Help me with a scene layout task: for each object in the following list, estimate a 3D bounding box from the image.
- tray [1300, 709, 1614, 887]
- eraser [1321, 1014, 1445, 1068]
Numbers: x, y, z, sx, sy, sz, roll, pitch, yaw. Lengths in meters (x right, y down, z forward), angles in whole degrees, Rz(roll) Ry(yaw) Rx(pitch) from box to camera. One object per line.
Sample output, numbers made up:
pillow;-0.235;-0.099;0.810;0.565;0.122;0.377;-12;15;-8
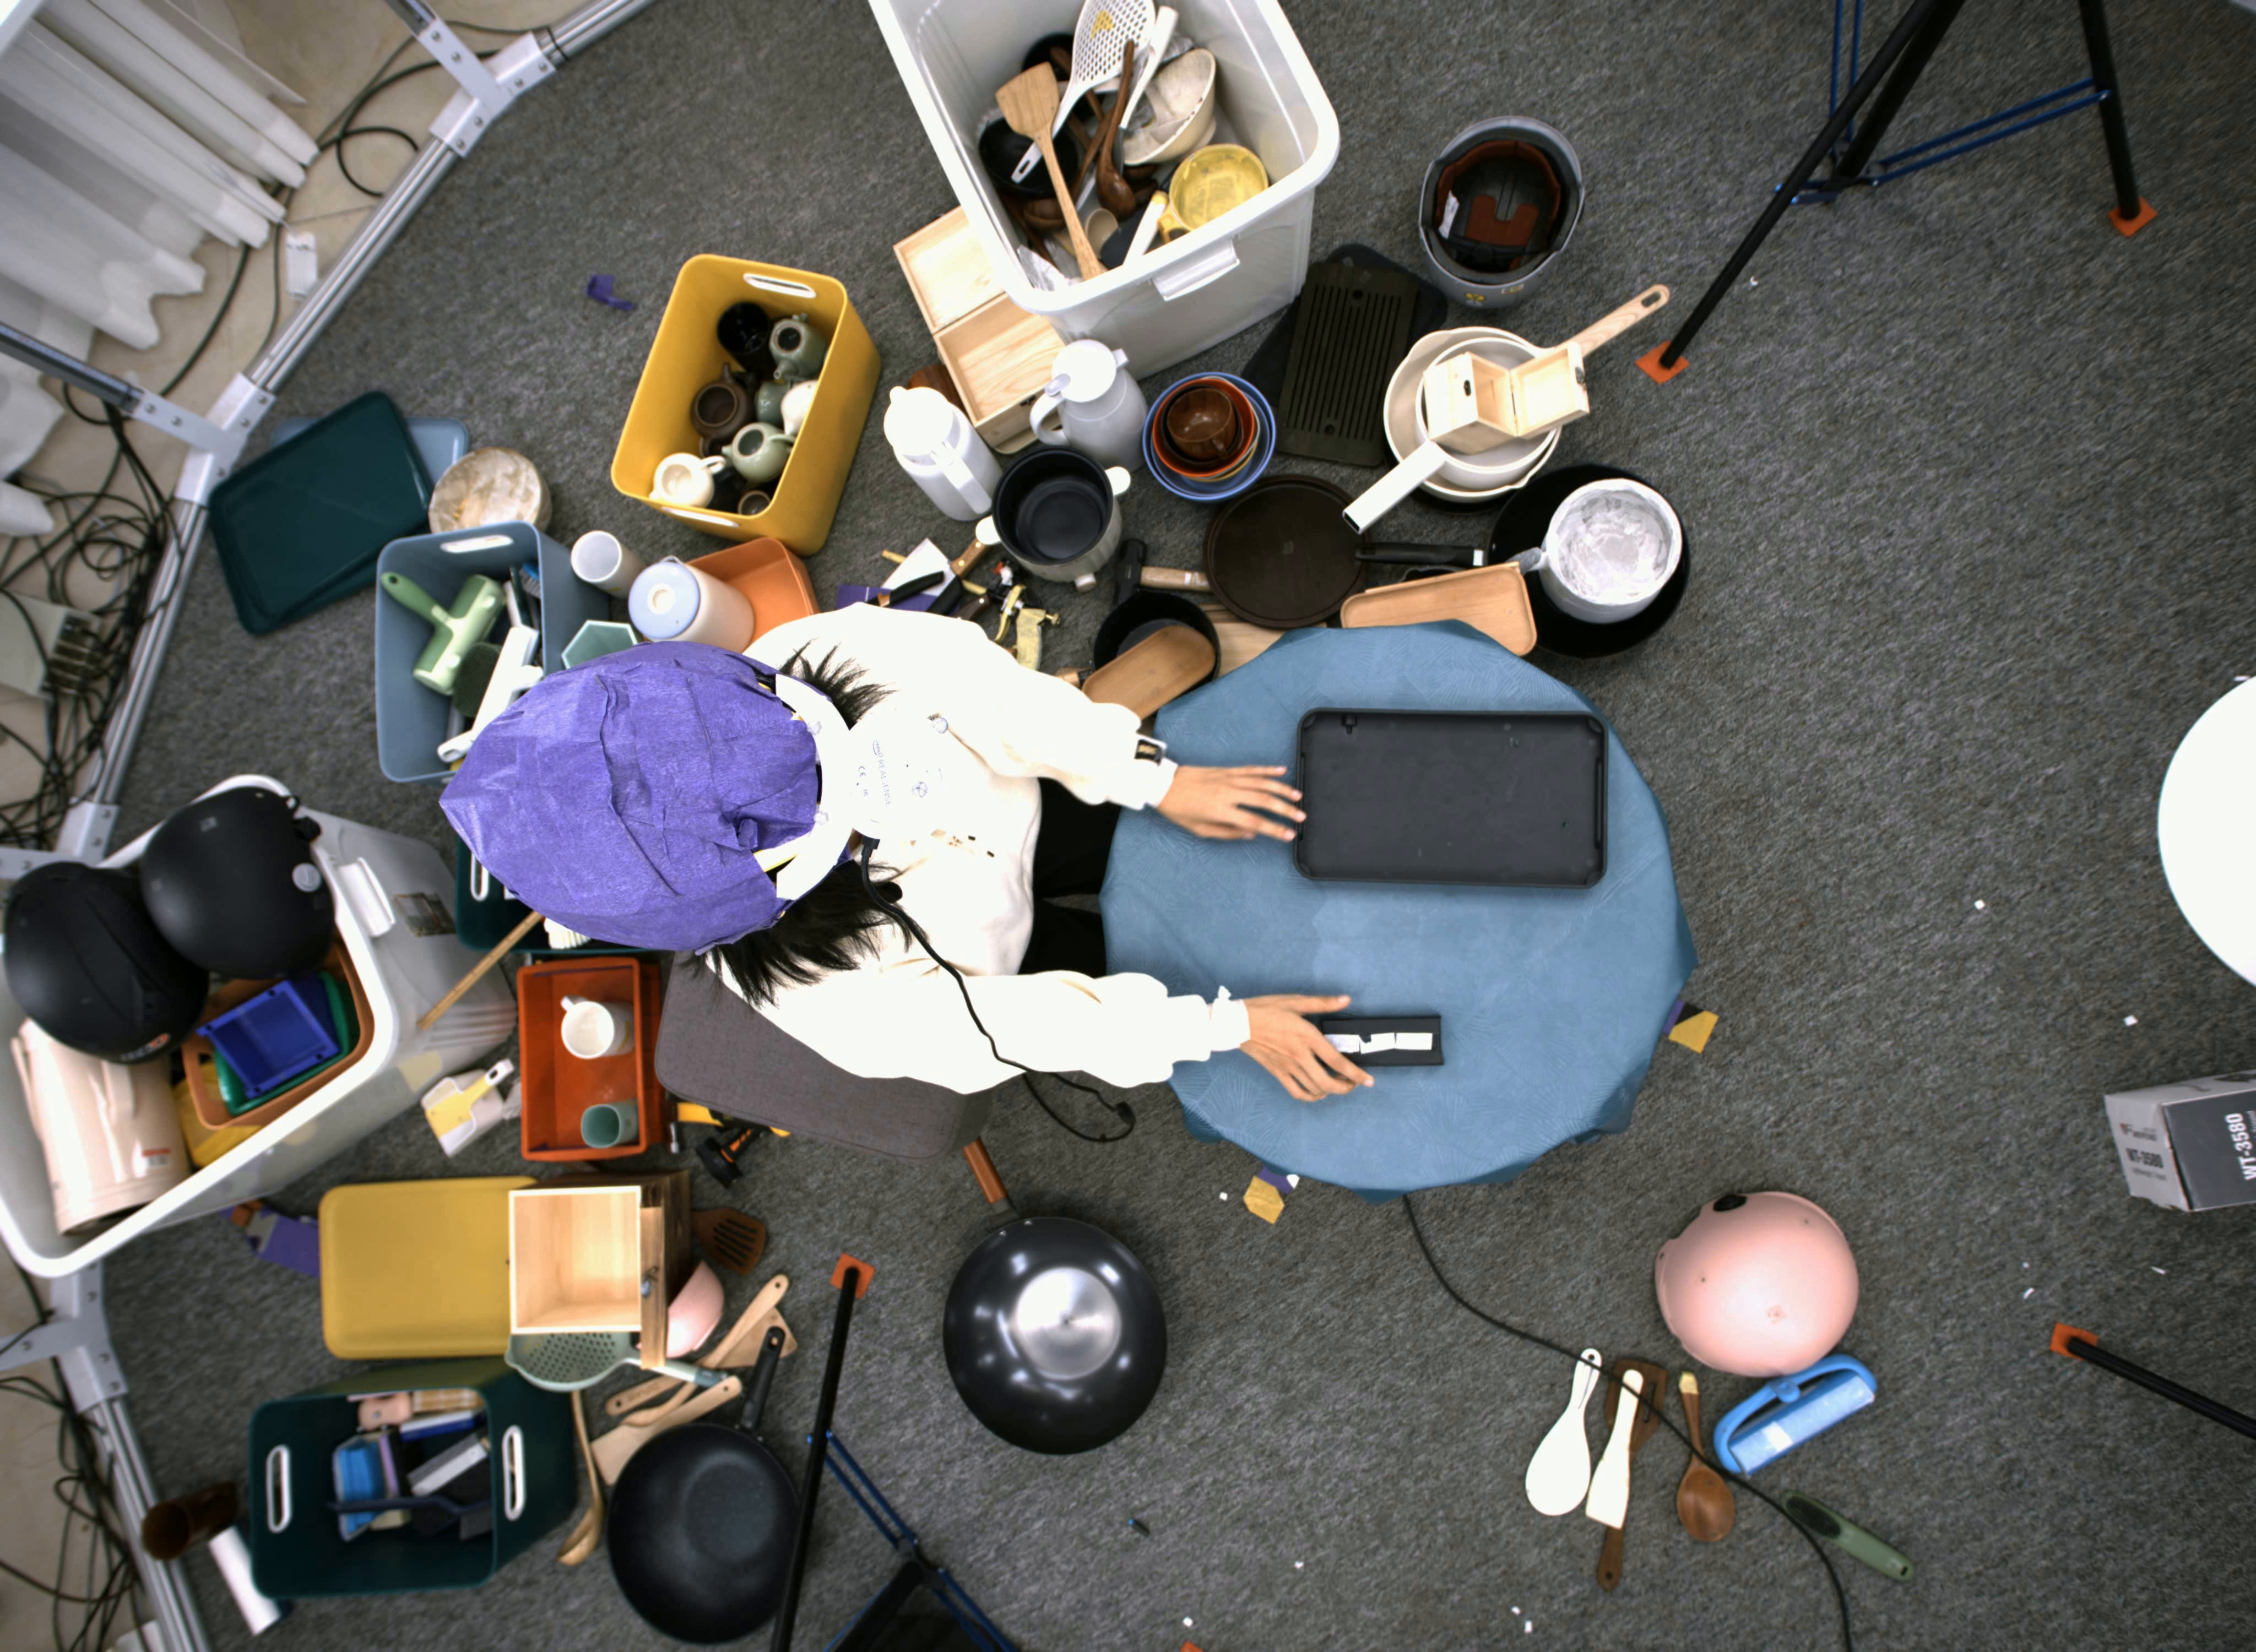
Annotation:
tray;0.339;-0.030;1.434;0.319;0.037;0.183;0;86;11
eraser;0.265;0.222;1.438;0.126;0.030;0.053;-3;81;10
